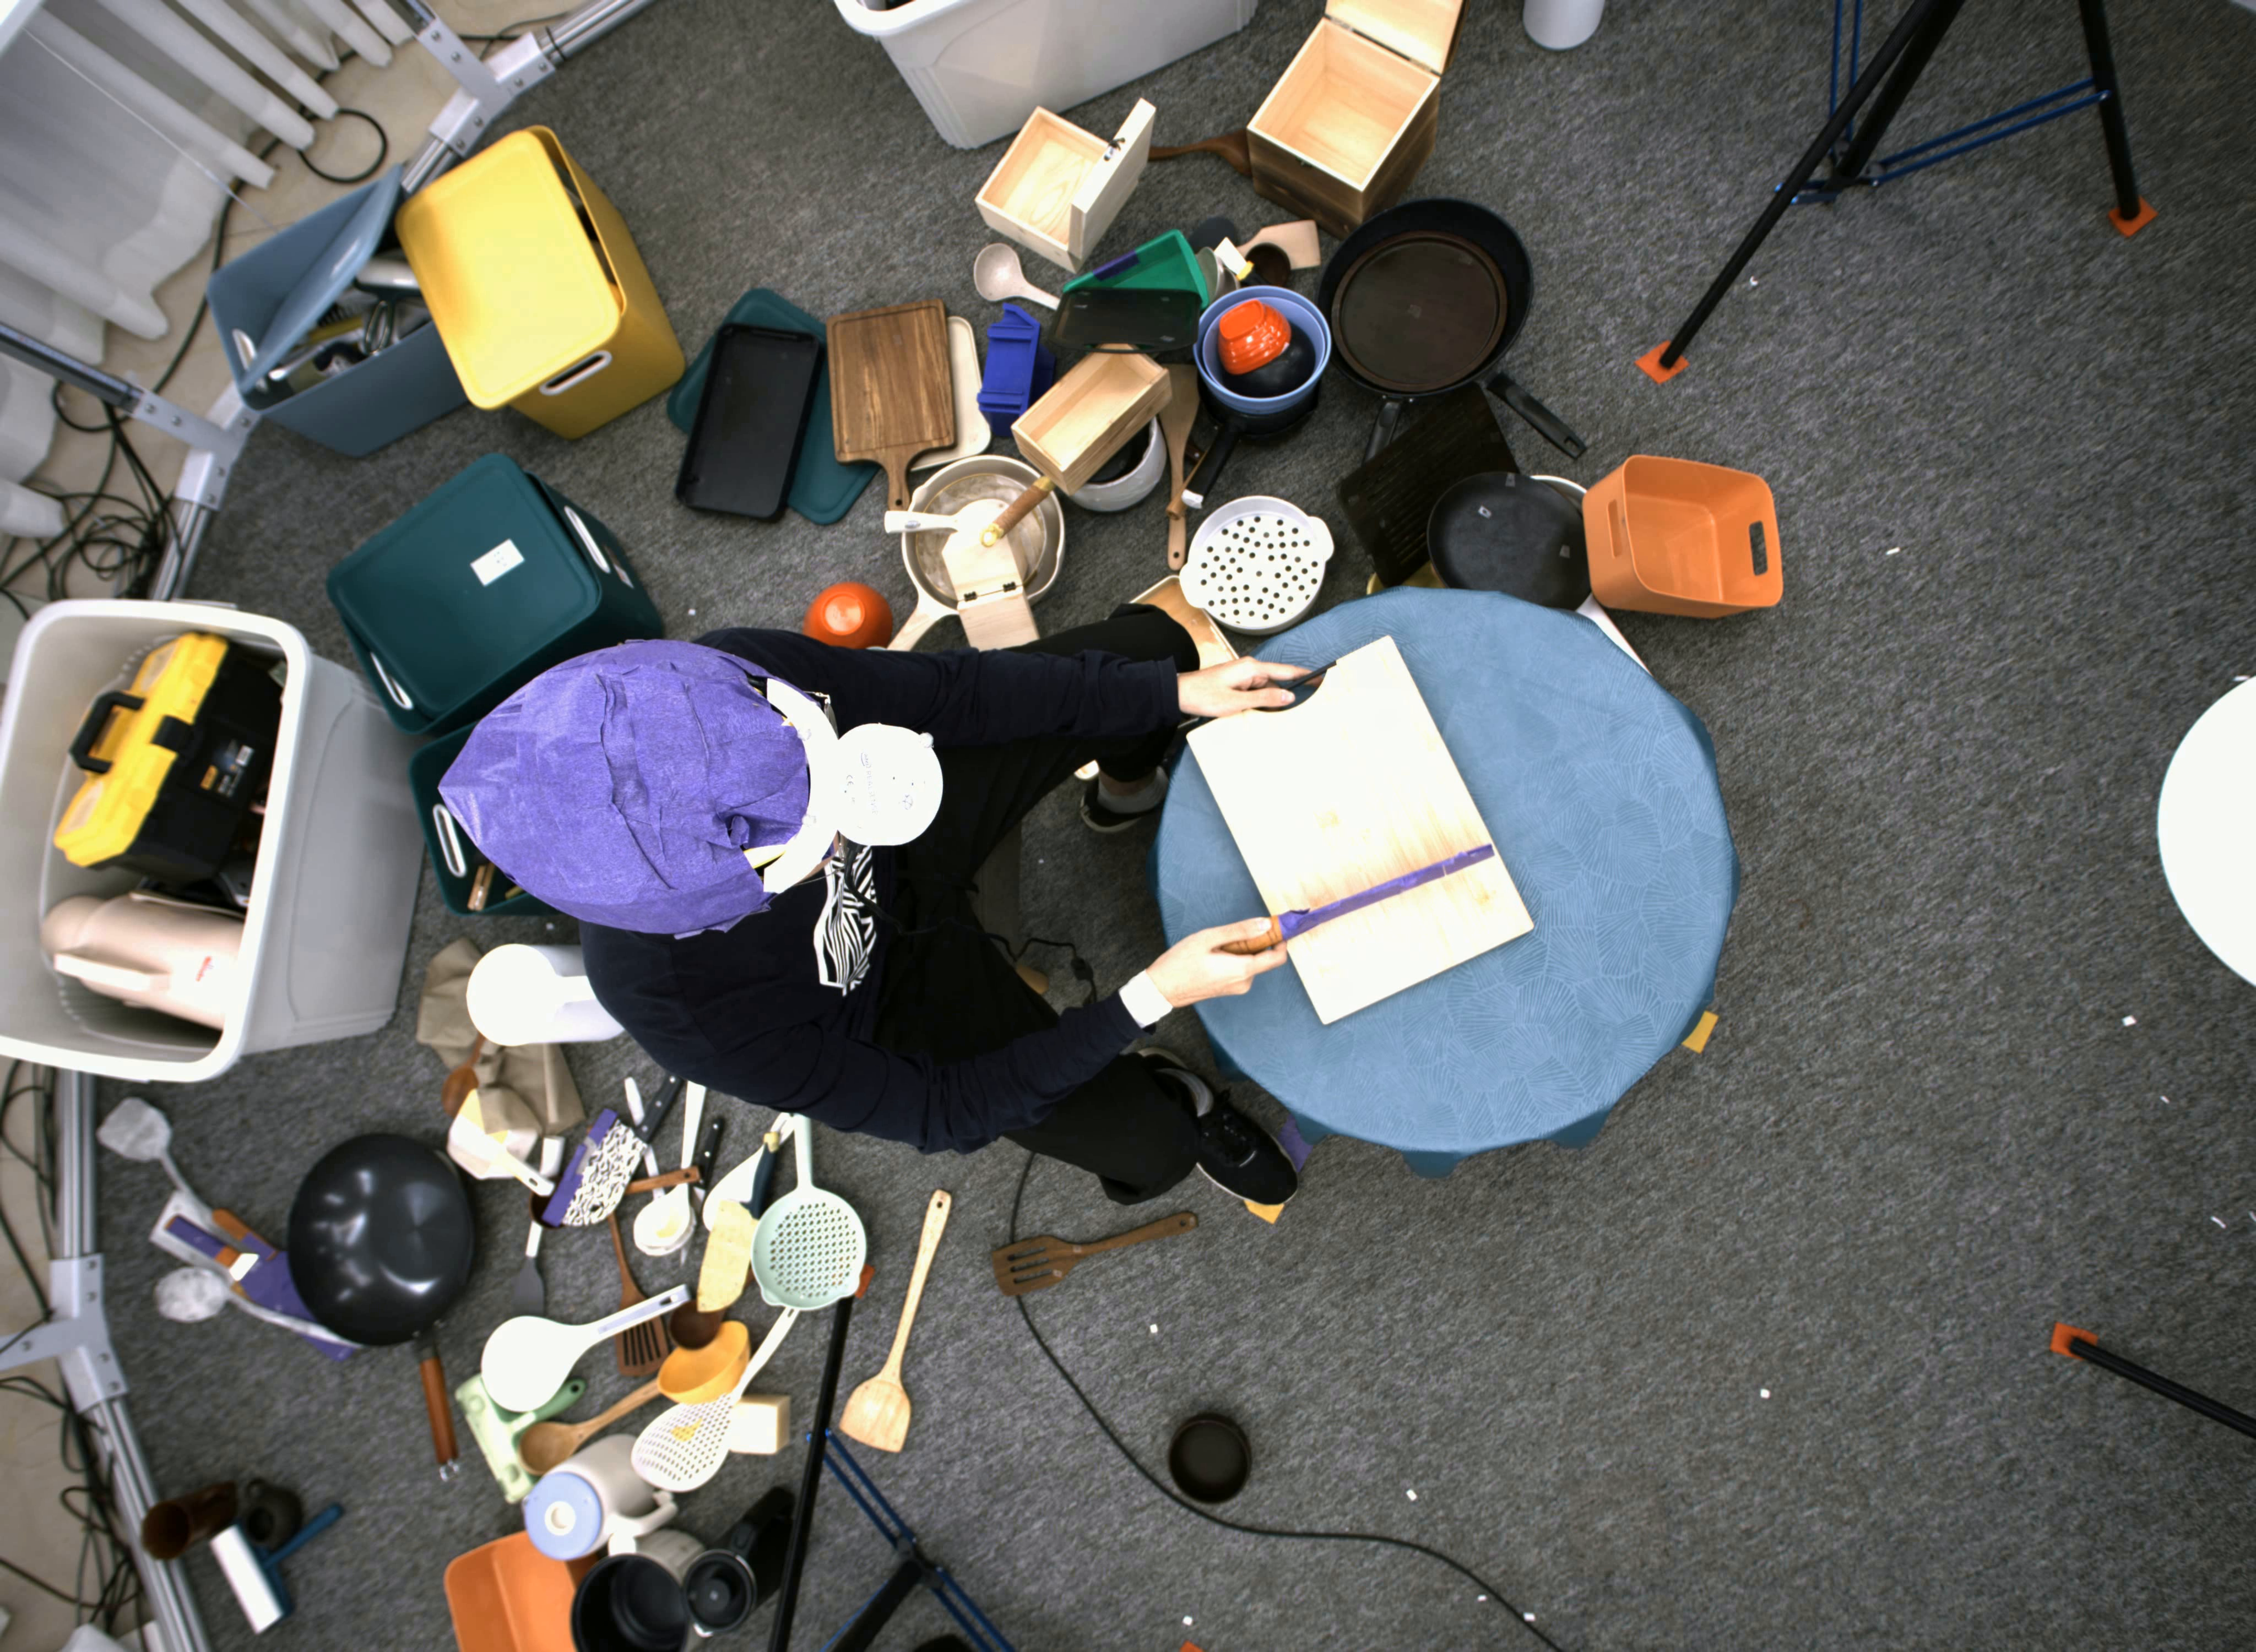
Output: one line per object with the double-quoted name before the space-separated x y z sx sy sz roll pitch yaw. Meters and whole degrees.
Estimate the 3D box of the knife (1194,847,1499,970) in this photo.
"knife" 0.224 0.085 1.394 0.317 0.104 0.032 -20 75 11

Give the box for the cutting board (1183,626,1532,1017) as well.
"cutting board" 0.238 -0.003 1.448 0.252 0.023 0.347 -26 87 8
